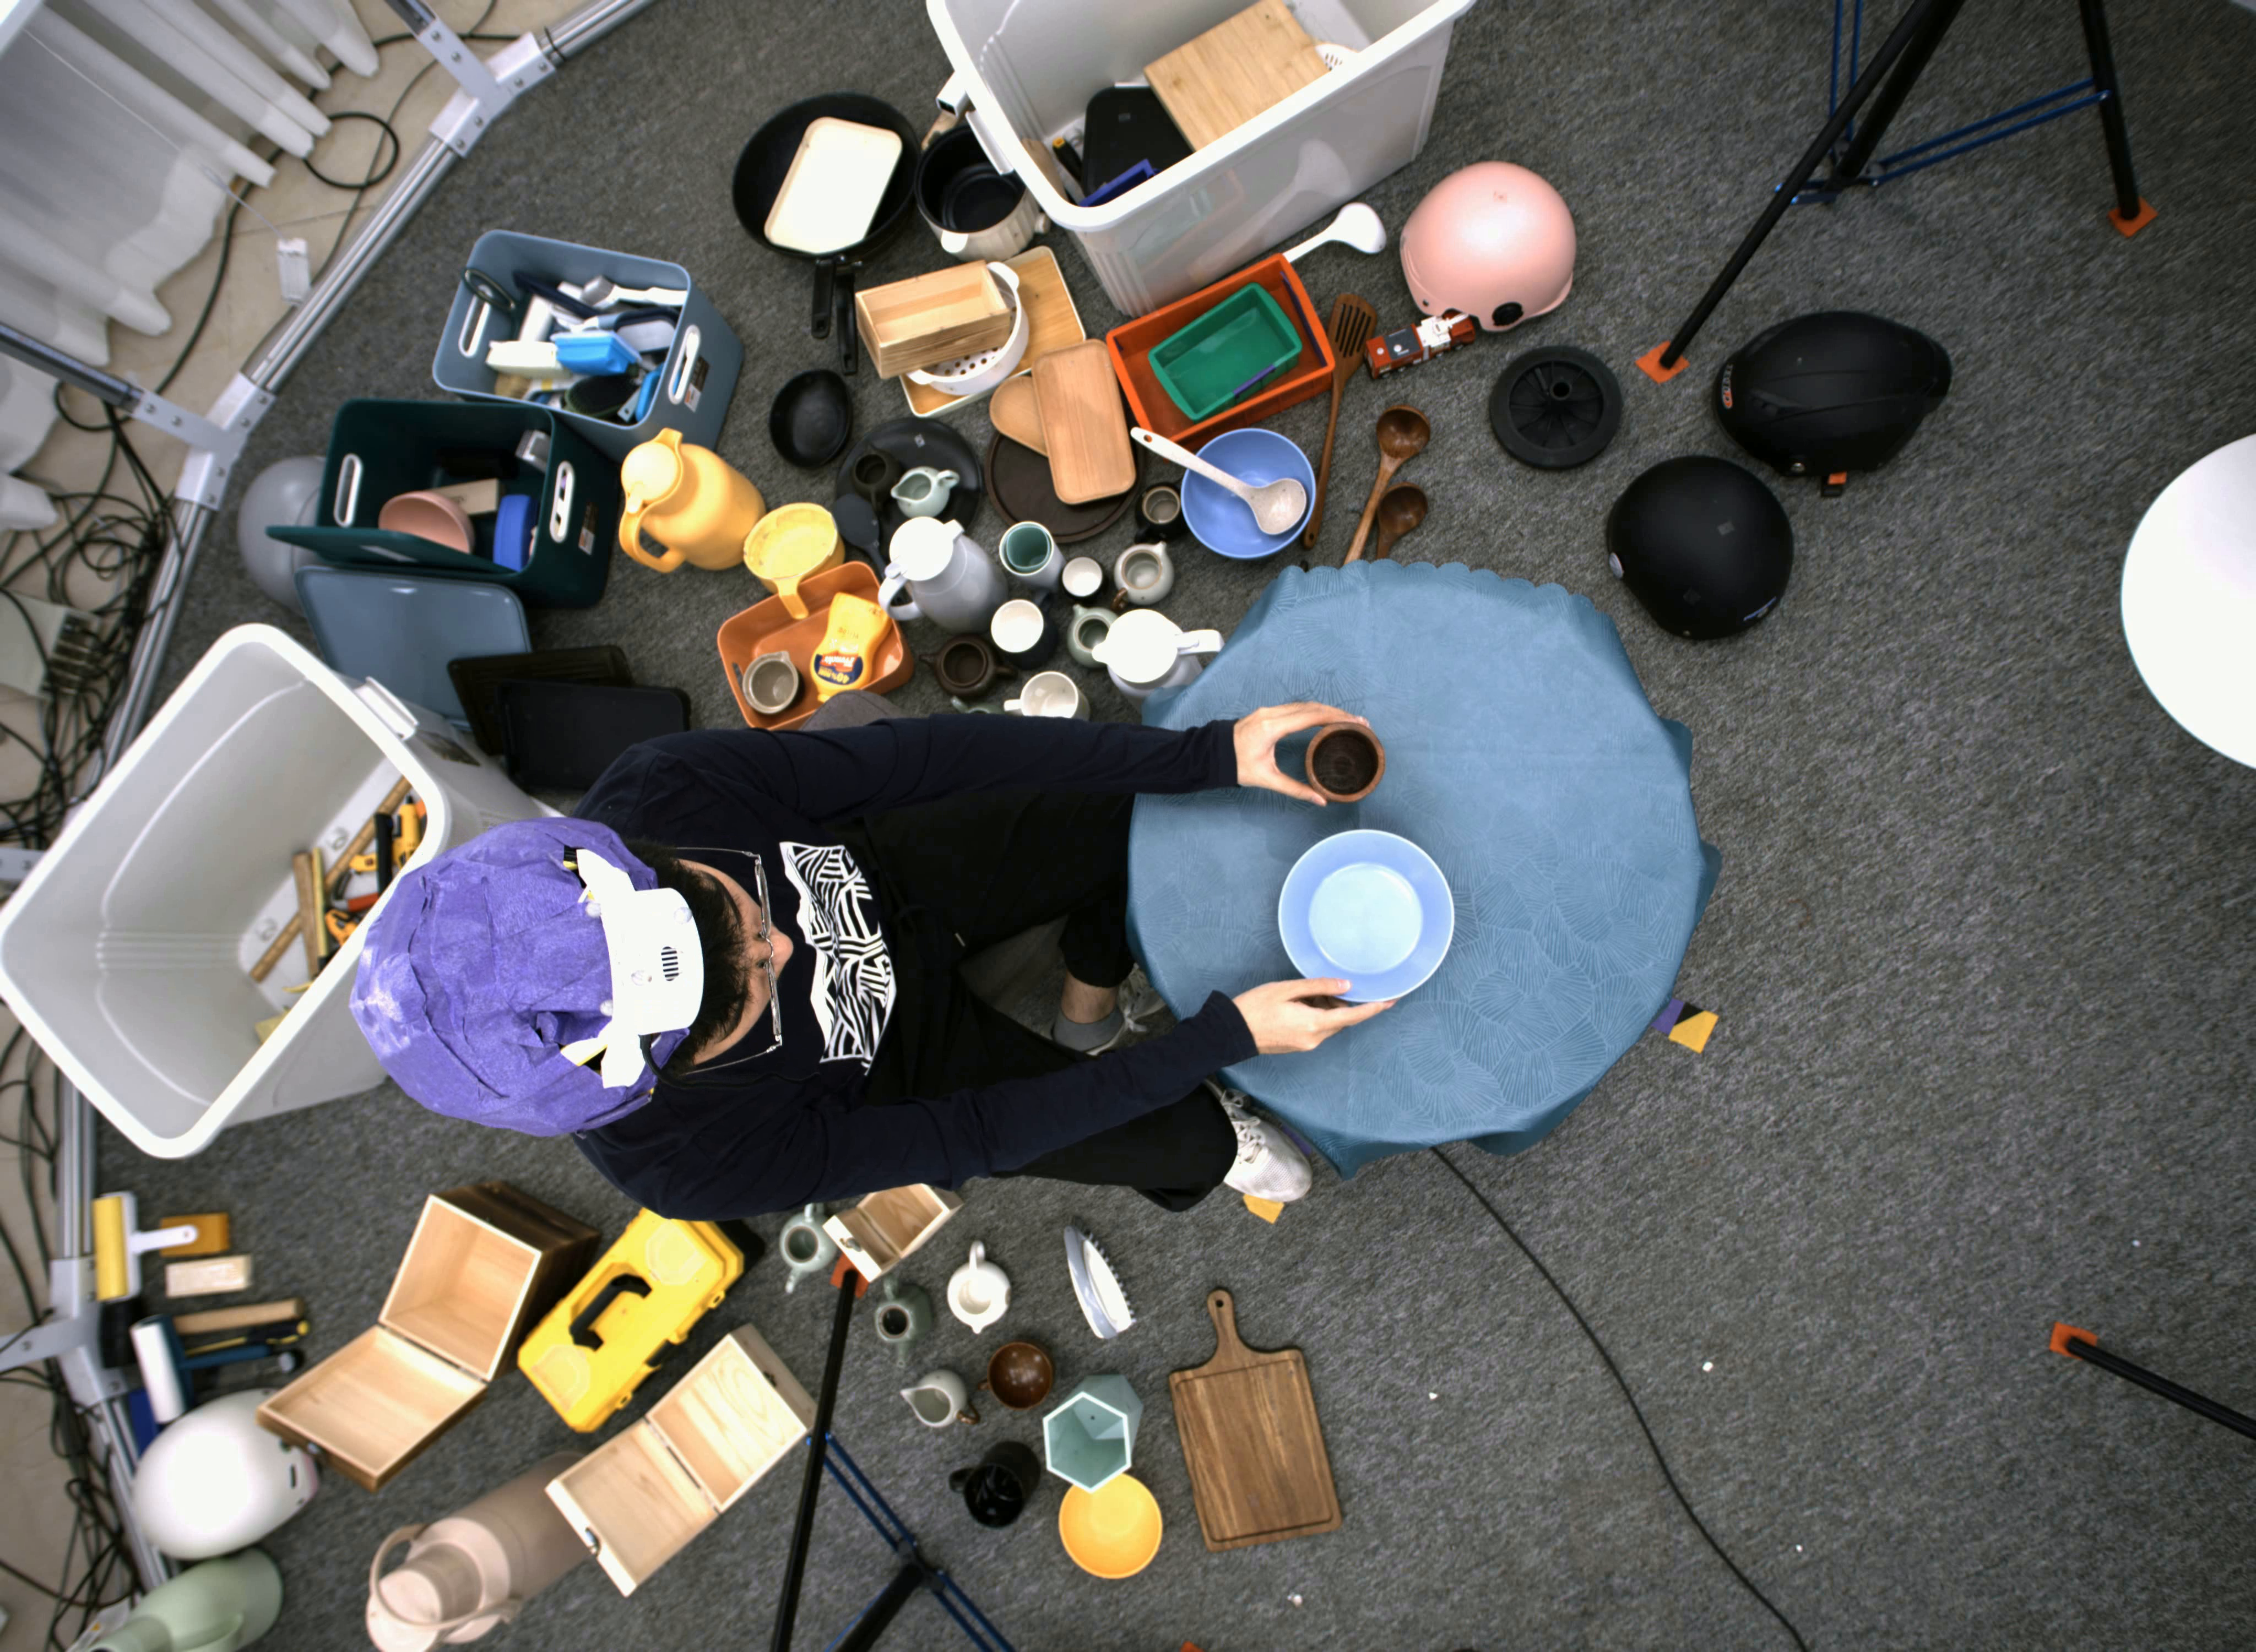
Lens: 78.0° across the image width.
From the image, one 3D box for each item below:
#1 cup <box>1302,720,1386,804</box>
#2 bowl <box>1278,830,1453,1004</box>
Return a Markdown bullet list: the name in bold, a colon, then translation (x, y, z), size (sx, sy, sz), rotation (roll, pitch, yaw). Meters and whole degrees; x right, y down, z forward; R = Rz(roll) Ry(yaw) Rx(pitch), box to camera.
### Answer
- **cup**: translation (0.222, -0.063, 1.406), size (0.088, 0.118, 0.087), rotation (0, 90, 10)
- **bowl**: translation (0.244, 0.094, 1.427), size (0.177, 0.070, 0.175), rotation (-1, 86, 11)
